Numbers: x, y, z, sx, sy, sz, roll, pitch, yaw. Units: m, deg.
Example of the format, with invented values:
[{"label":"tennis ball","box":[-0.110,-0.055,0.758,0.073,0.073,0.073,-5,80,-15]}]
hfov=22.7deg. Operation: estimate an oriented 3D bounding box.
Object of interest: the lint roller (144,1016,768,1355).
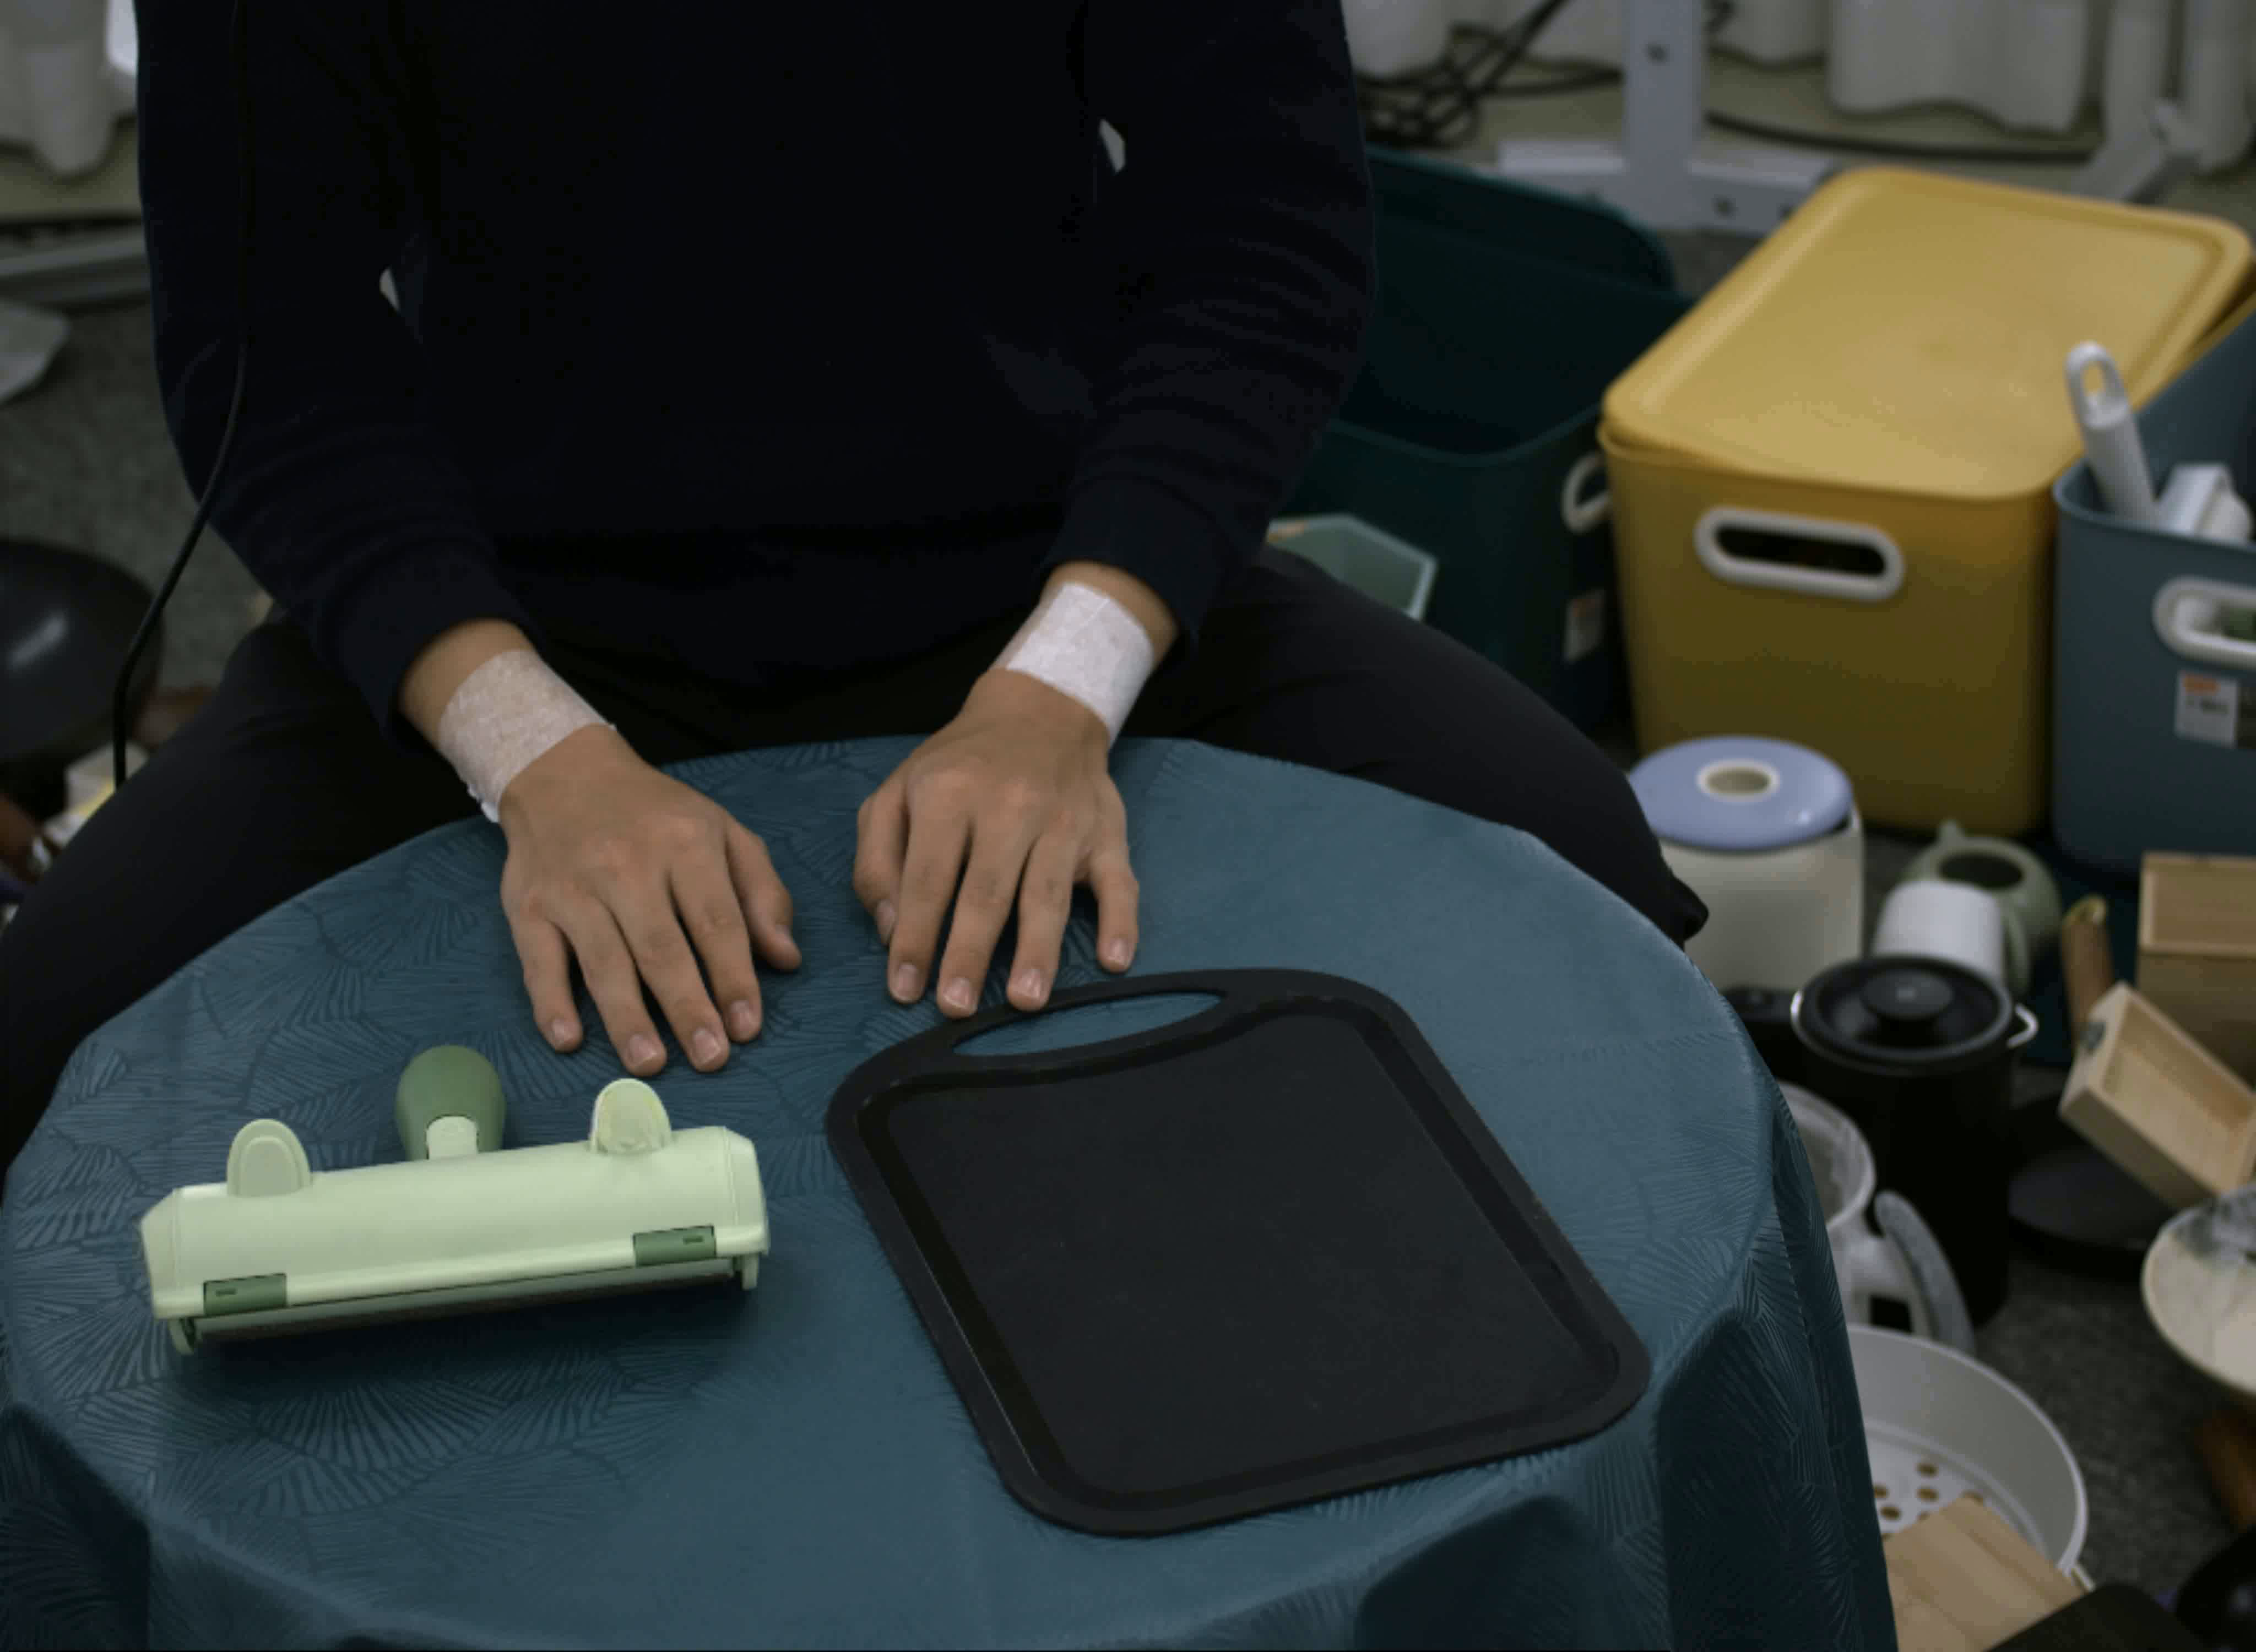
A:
[{"label":"lint roller","box":[-0.224,0.096,1.842,0.198,0.081,0.186,-6,34,-8]}]

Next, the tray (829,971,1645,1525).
[{"label":"tray","box":[0.026,0.128,1.840,0.211,0.009,0.328,-10,28,-14]}]
